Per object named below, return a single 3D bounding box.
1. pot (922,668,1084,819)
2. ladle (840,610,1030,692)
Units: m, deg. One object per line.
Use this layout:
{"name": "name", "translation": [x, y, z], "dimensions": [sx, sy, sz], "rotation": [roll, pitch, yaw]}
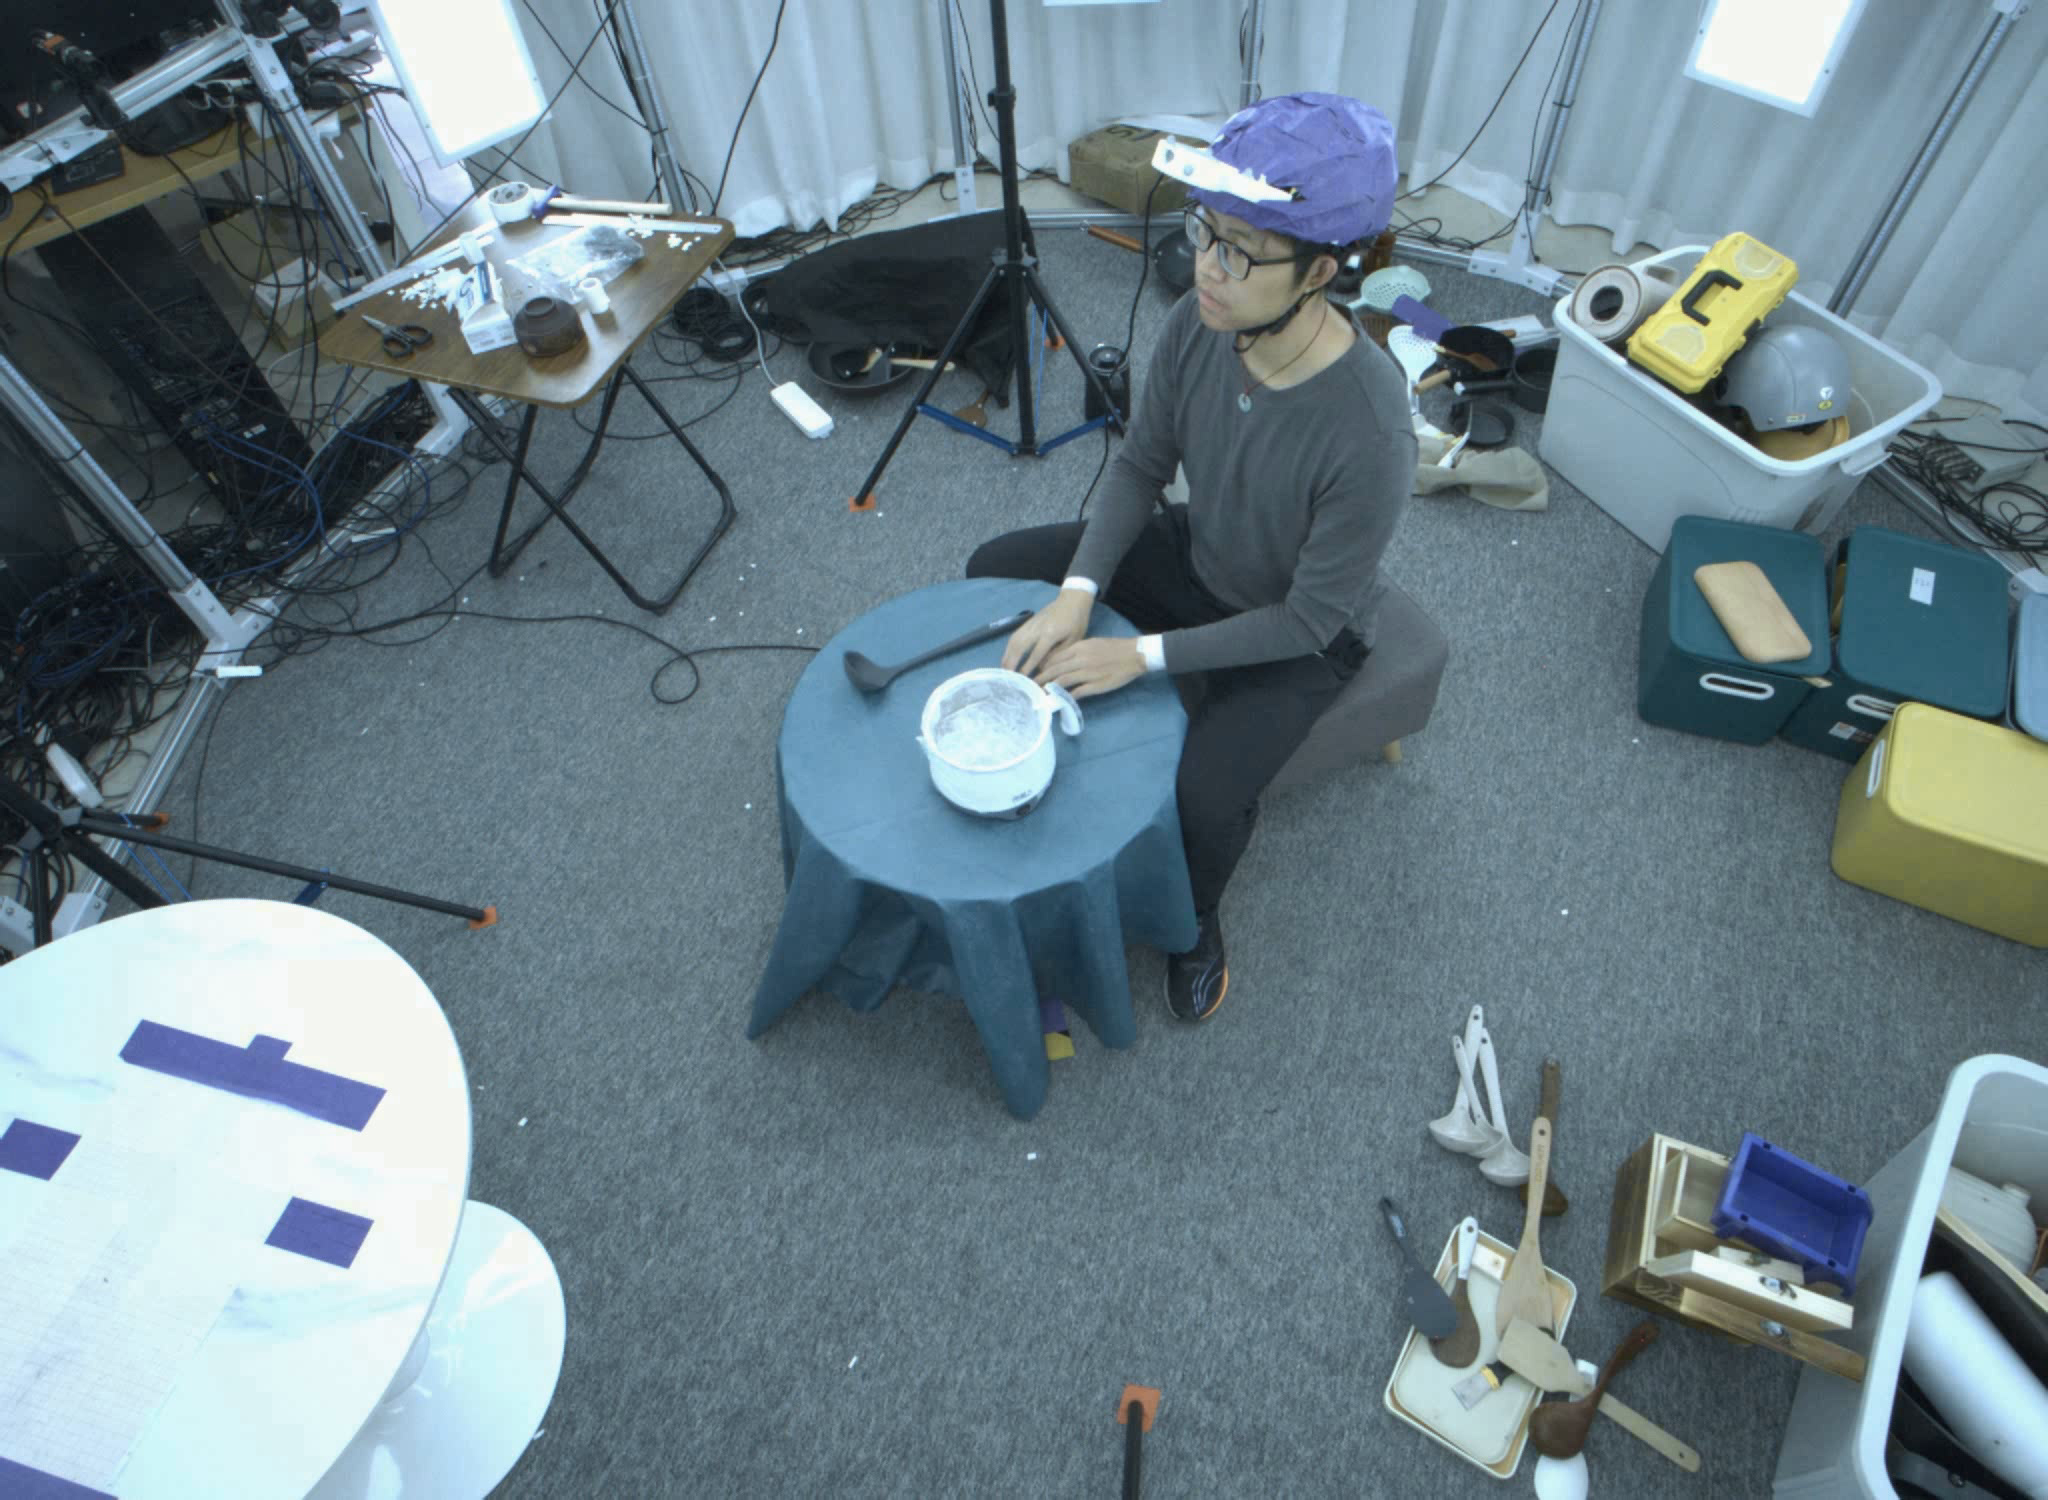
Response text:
{"name": "pot", "translation": [-0.023, -0.019, 1.724], "dimensions": [0.235, 0.138, 0.175], "rotation": [-27, 58, -17]}
{"name": "ladle", "translation": [-0.132, -0.169, 1.880], "dimensions": [0.316, 0.064, 0.084], "rotation": [-24, 57, -15]}
